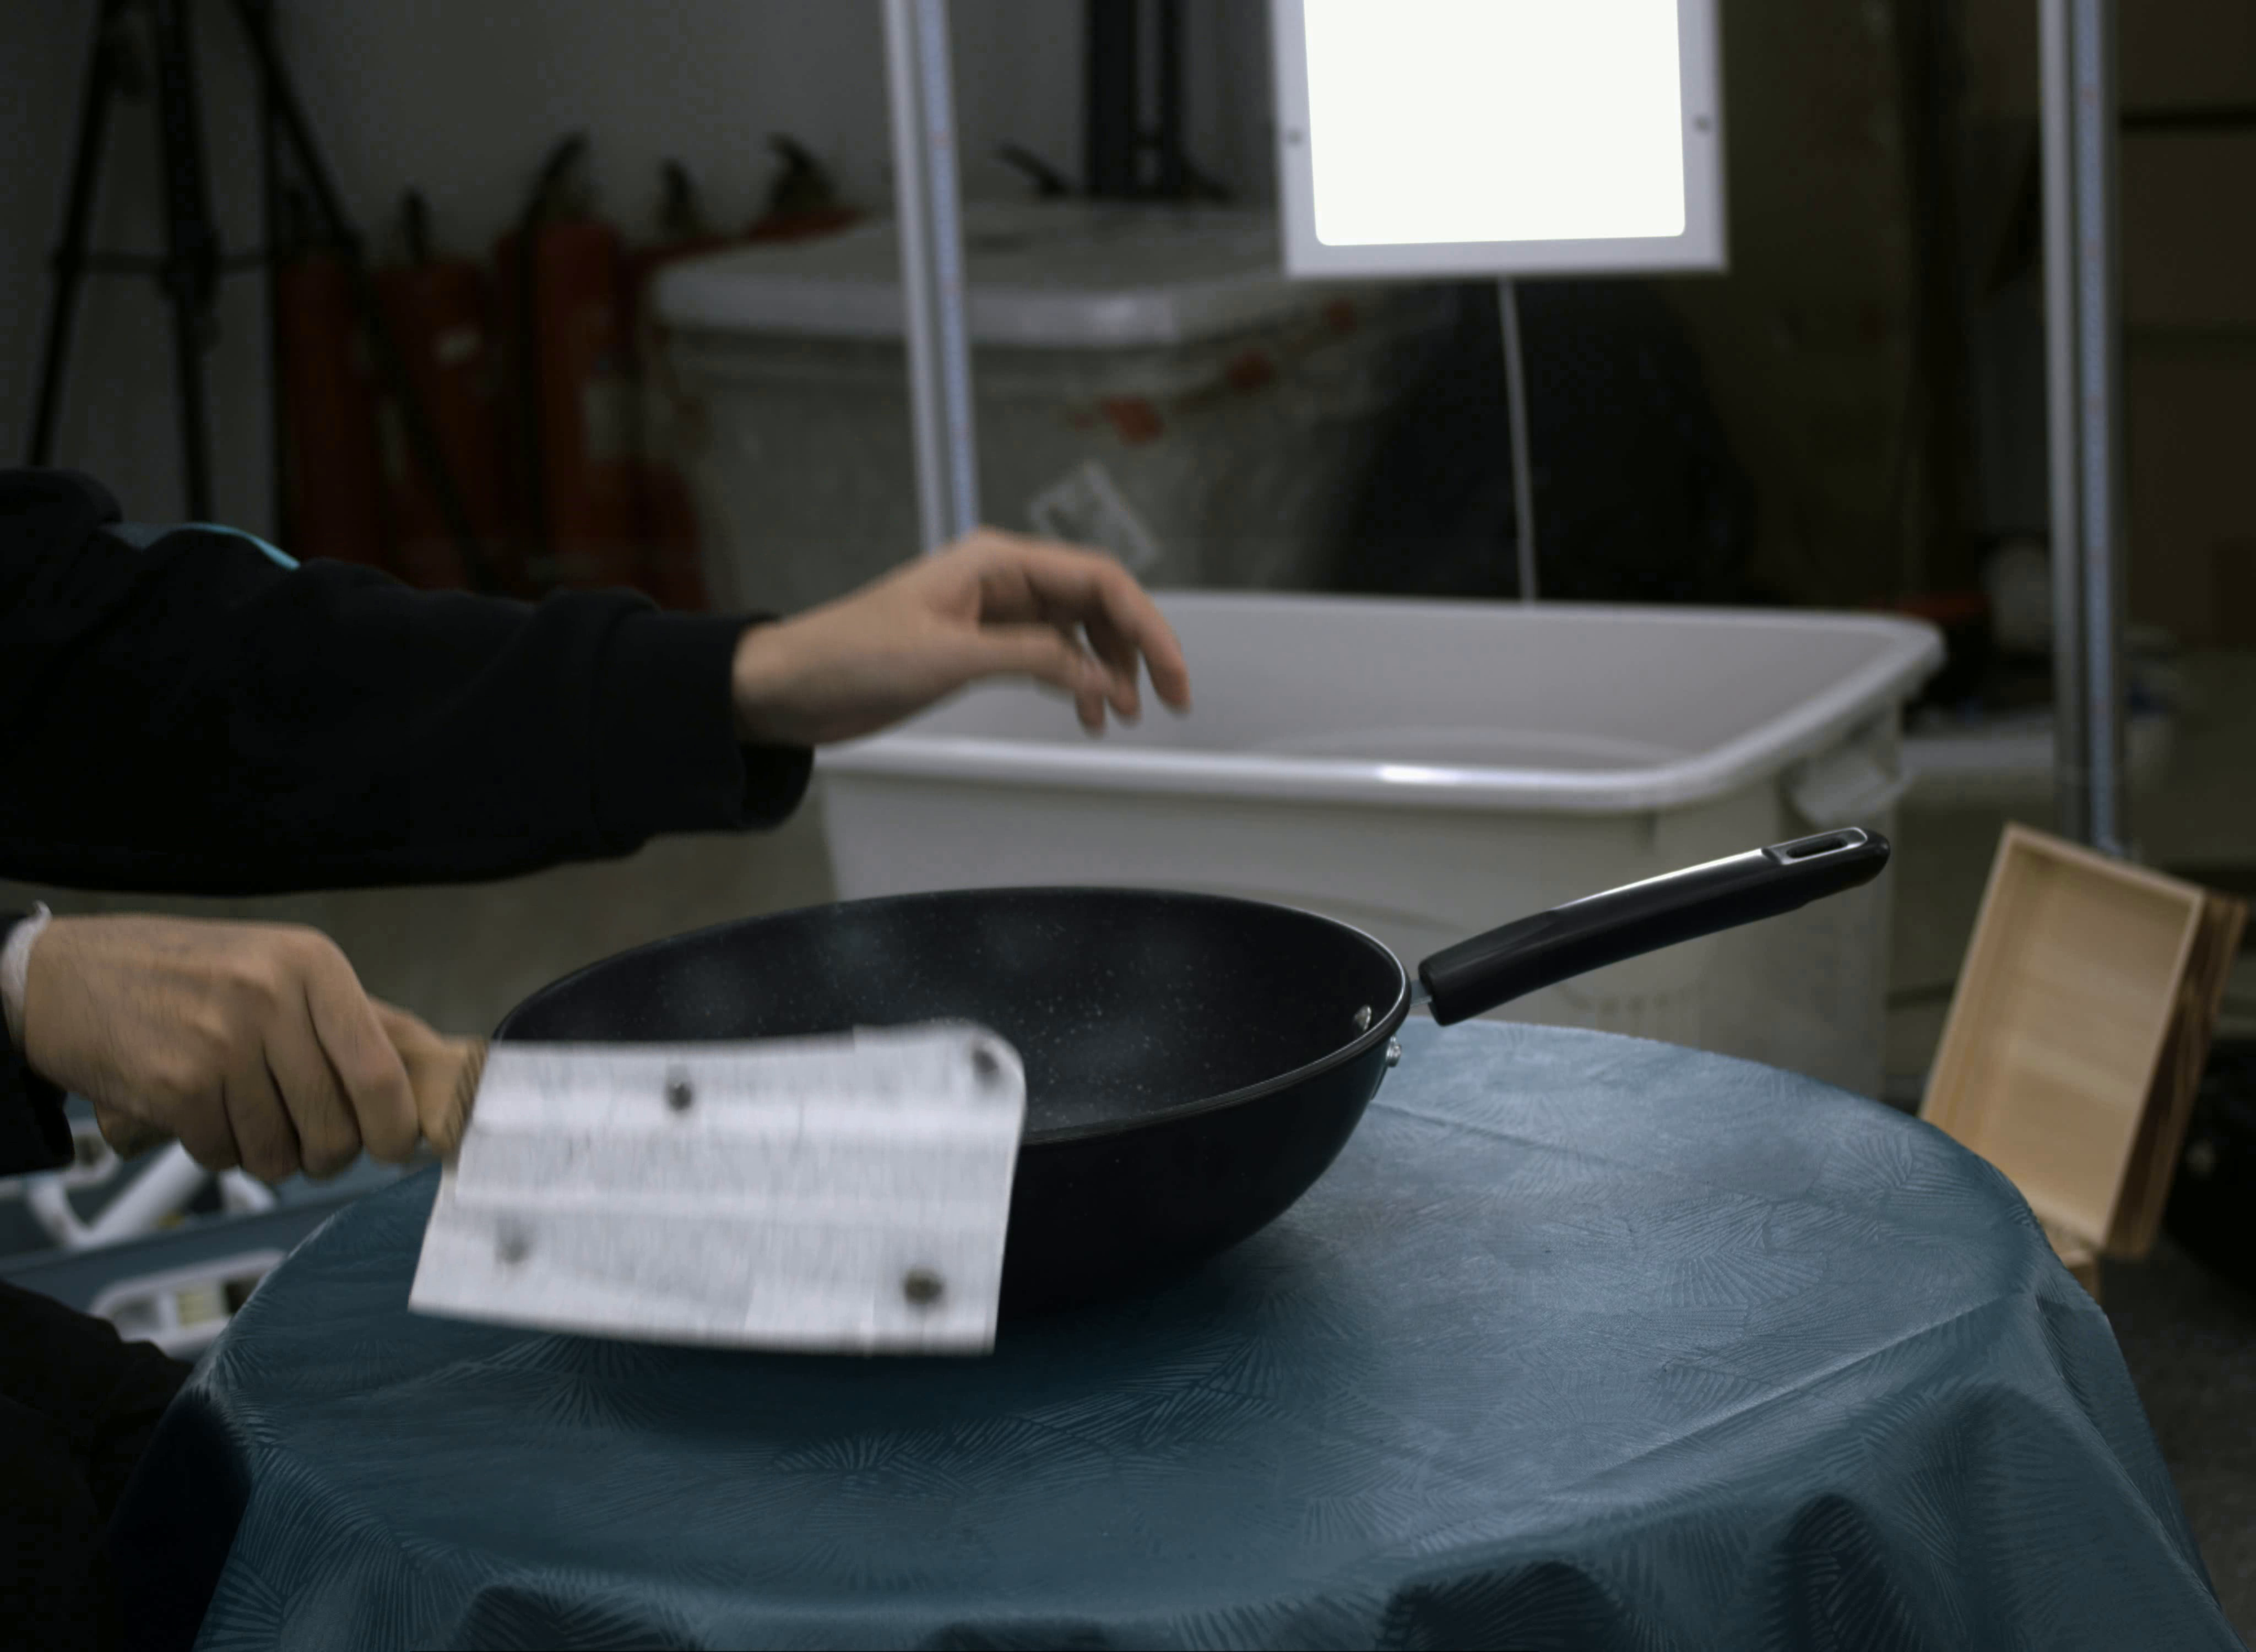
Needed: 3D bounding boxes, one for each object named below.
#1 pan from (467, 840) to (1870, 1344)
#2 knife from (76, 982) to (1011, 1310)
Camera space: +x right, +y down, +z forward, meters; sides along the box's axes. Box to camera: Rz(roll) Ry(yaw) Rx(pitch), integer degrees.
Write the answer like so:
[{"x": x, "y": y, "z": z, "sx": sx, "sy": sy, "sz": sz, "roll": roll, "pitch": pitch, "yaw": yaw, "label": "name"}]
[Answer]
[{"x": 0.018, "y": 0.084, "z": 1.843, "sx": 0.474, "sy": 0.112, "sz": 0.311, "roll": -6, "pitch": 16, "yaw": -4, "label": "pan"}, {"x": -0.174, "y": 0.090, "z": 1.635, "sx": 0.320, "sy": 0.113, "sz": 0.021, "roll": 3, "pitch": -26, "yaw": 24, "label": "knife"}]
